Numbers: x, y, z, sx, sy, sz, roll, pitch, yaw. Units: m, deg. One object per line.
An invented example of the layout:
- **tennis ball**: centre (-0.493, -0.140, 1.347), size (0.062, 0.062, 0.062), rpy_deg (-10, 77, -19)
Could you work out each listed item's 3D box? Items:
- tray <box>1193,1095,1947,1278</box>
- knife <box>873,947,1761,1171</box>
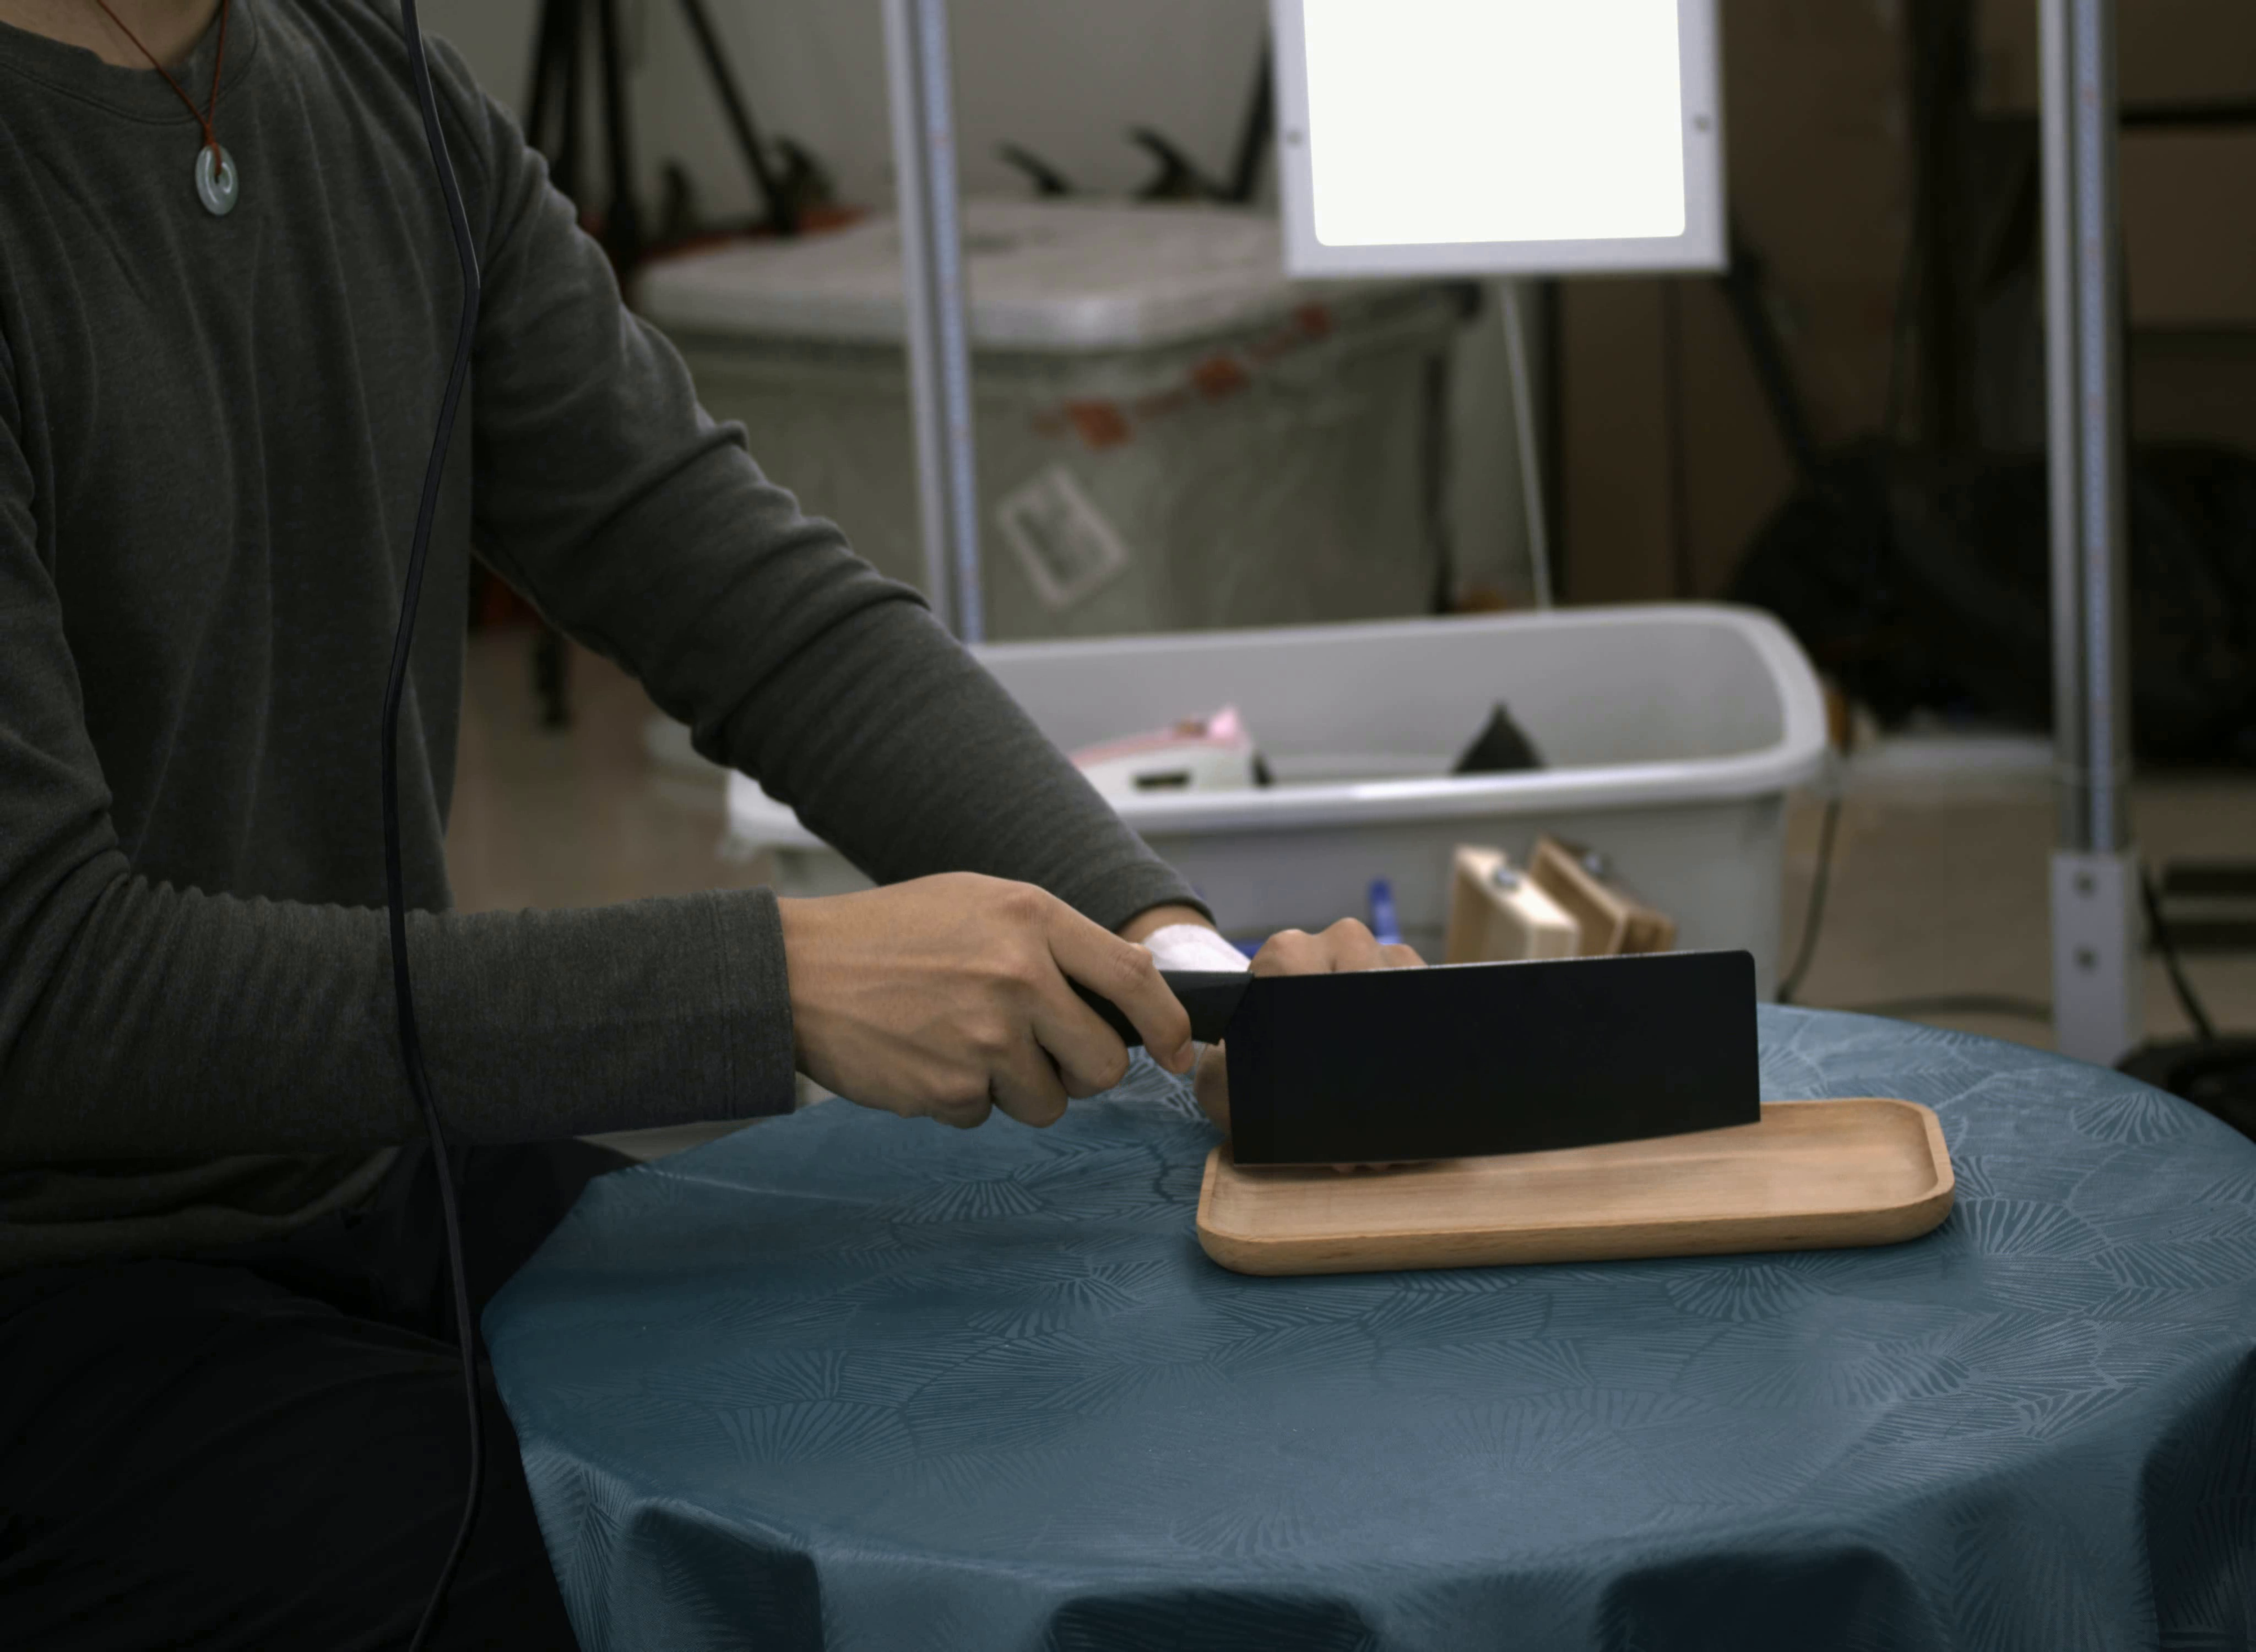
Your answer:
- **tray**: centre (0.149, 0.121, 1.841), size (0.252, 0.023, 0.129), rpy_deg (-4, 11, 8)
- **knife**: centre (0.064, 0.078, 1.860), size (0.302, 0.081, 0.021), rpy_deg (1, 7, 4)
